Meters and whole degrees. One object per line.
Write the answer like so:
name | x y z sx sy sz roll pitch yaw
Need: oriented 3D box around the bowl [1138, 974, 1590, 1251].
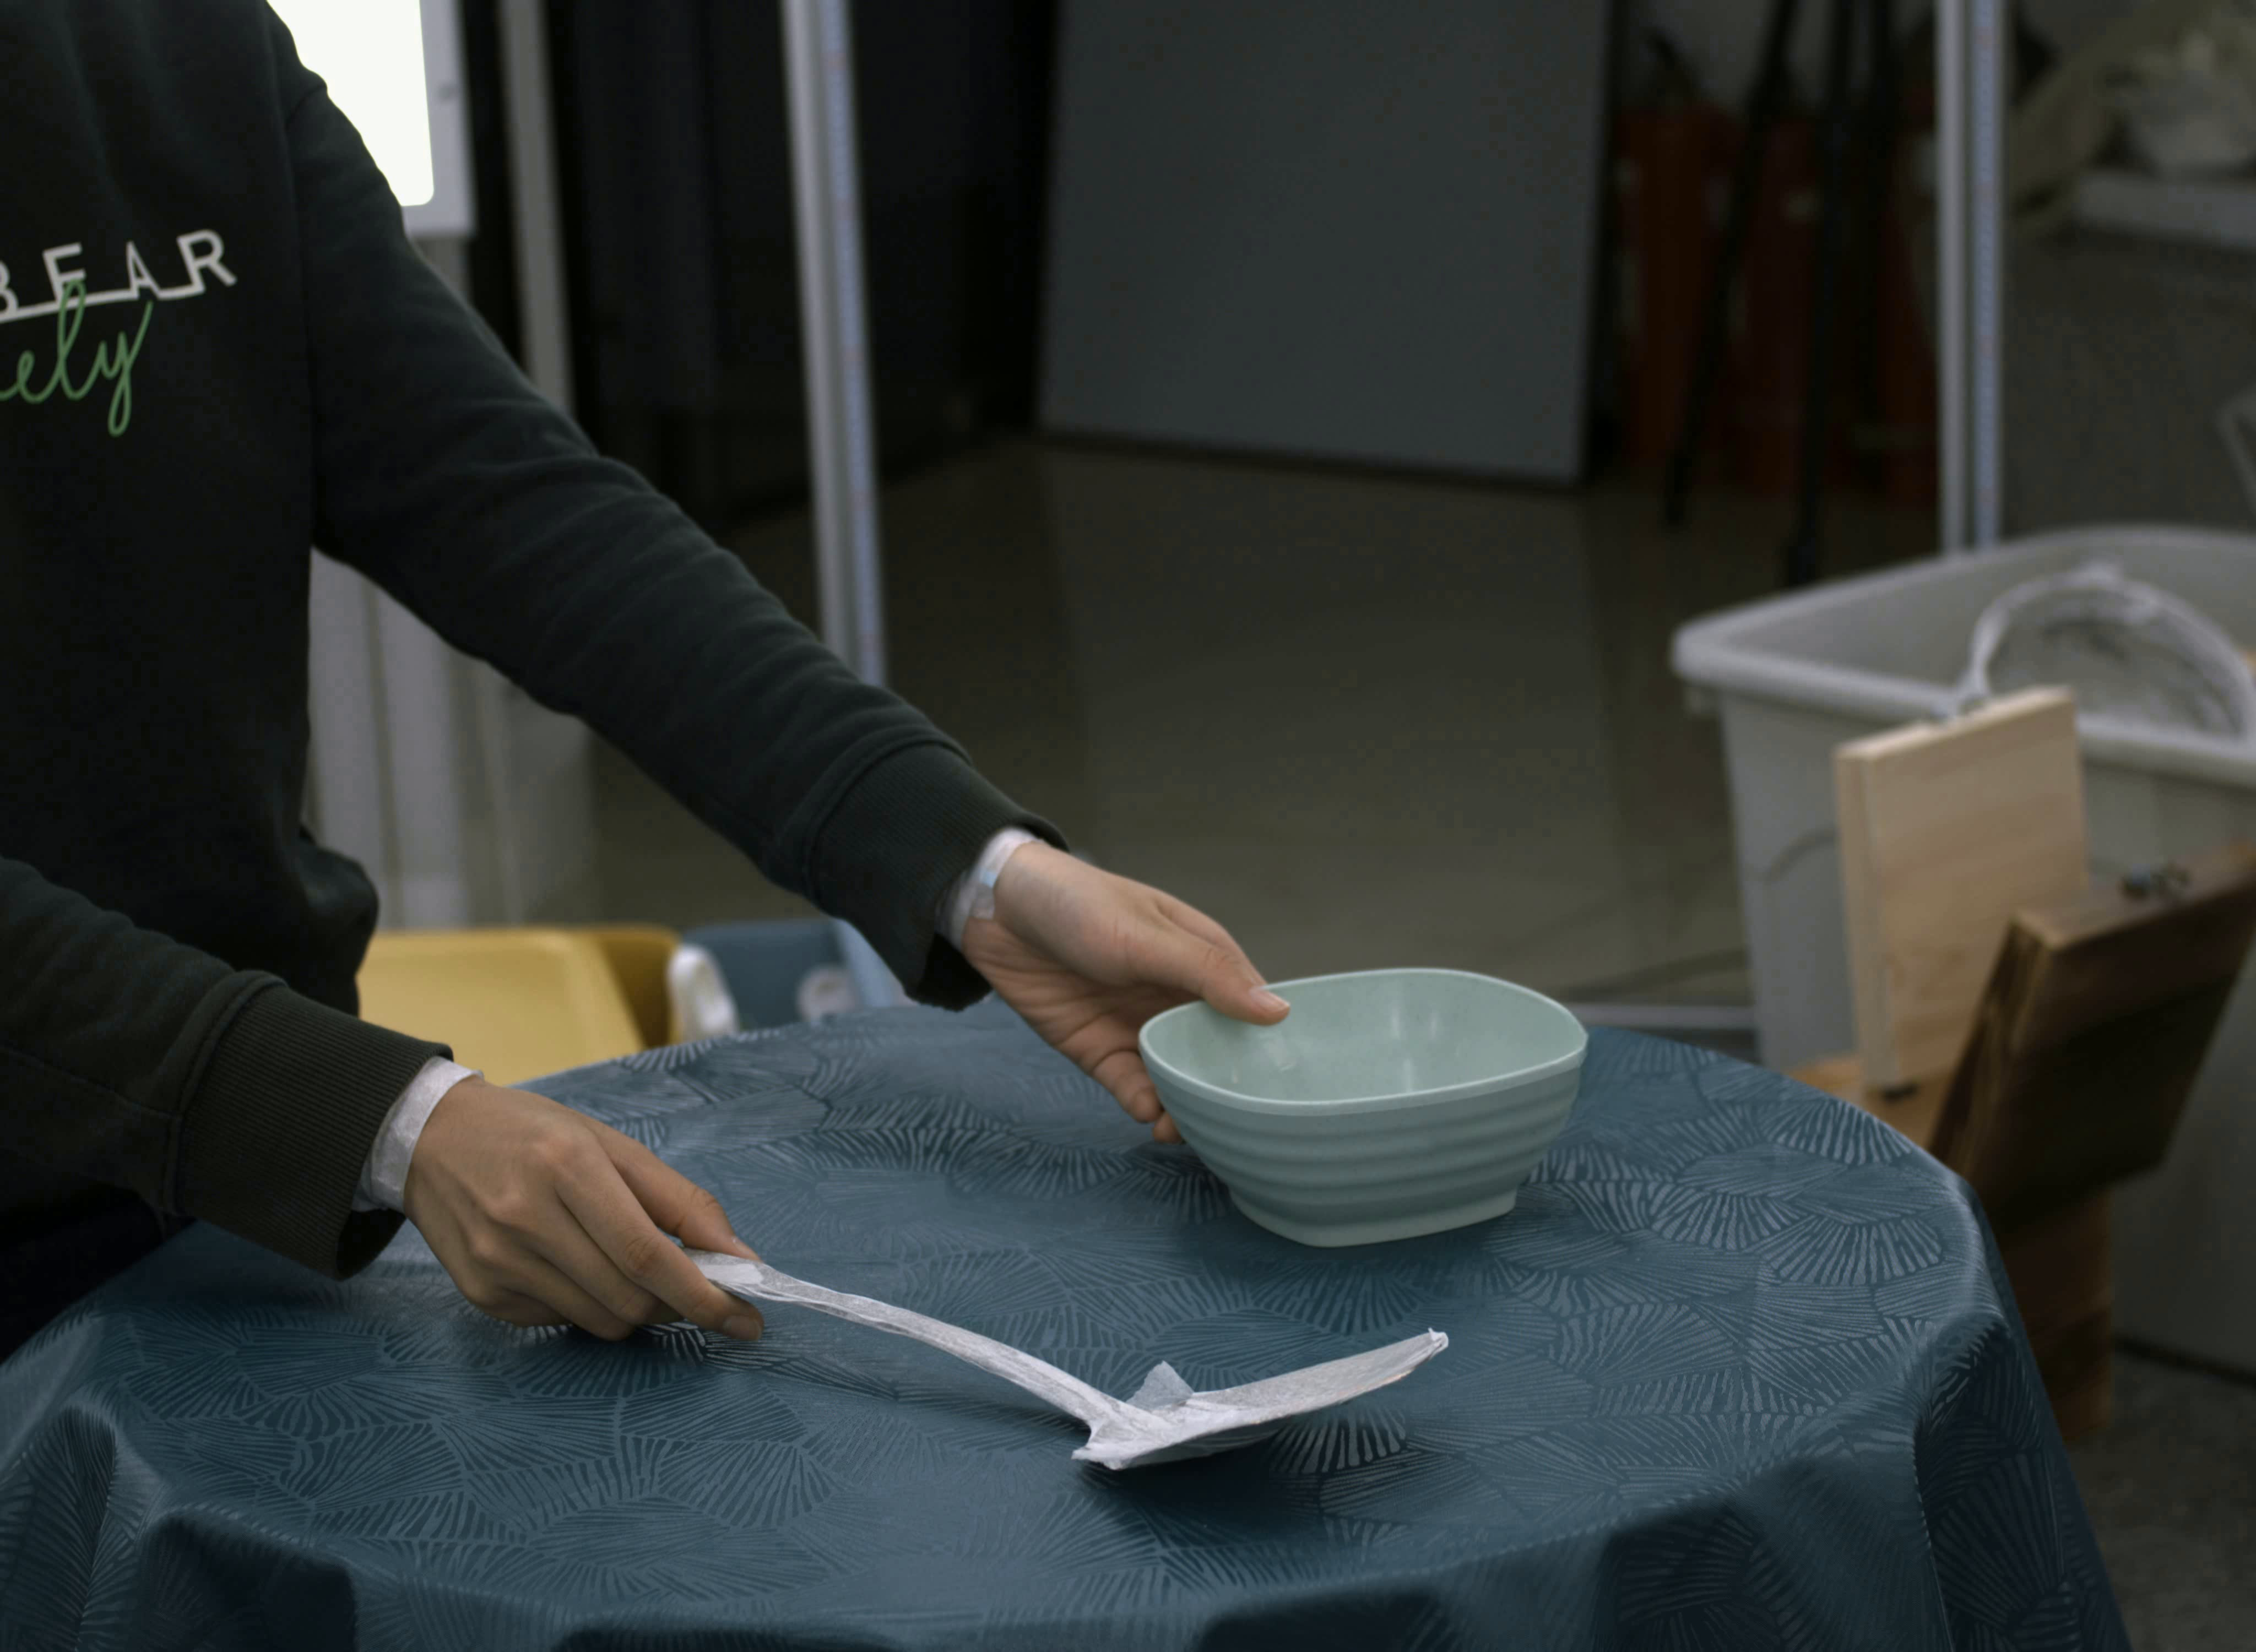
bowl | 0.076 0.095 1.738 0.149 0.059 0.152 -1 14 -1

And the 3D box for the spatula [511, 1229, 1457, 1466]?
spatula | -0.064 0.143 1.602 0.368 0.045 0.097 11 21 40
